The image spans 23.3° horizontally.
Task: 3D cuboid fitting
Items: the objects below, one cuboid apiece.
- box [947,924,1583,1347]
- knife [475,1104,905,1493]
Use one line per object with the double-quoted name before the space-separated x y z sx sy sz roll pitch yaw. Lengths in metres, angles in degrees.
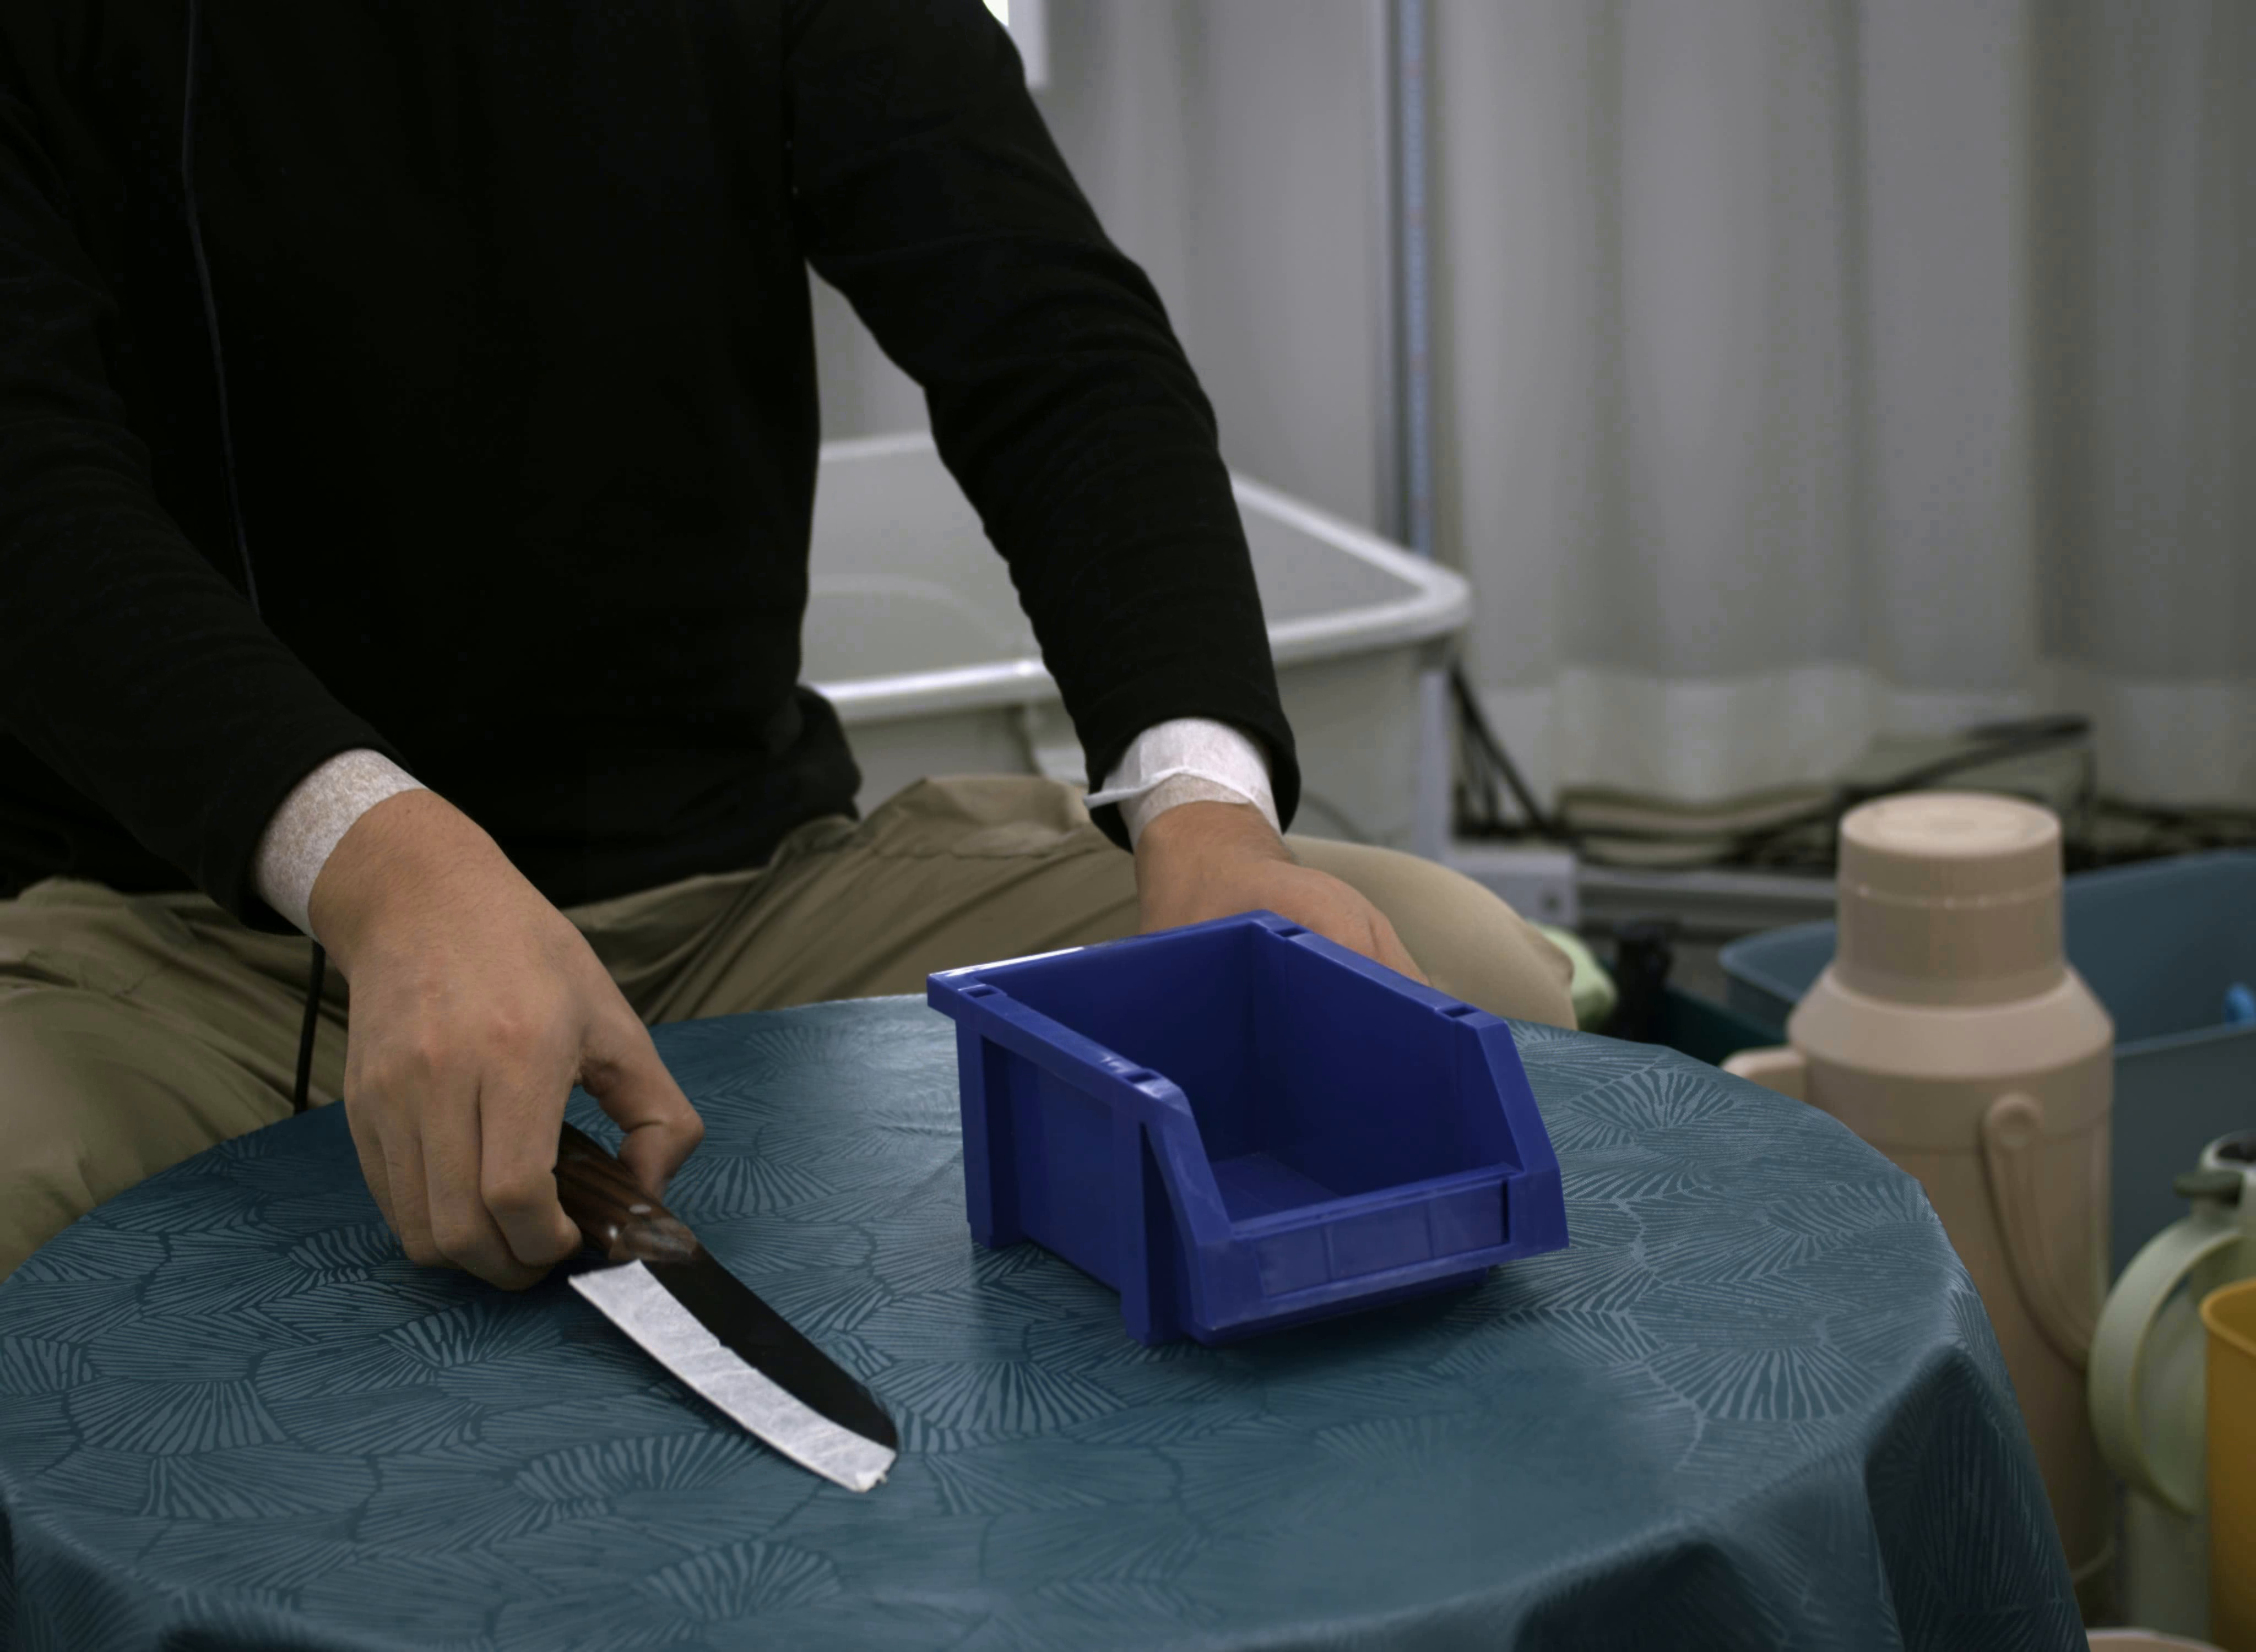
"box" 0.040 0.094 1.628 0.124 0.081 0.180 -9 13 -24
"knife" -0.132 0.138 1.603 0.050 0.020 0.292 -13 22 -23
